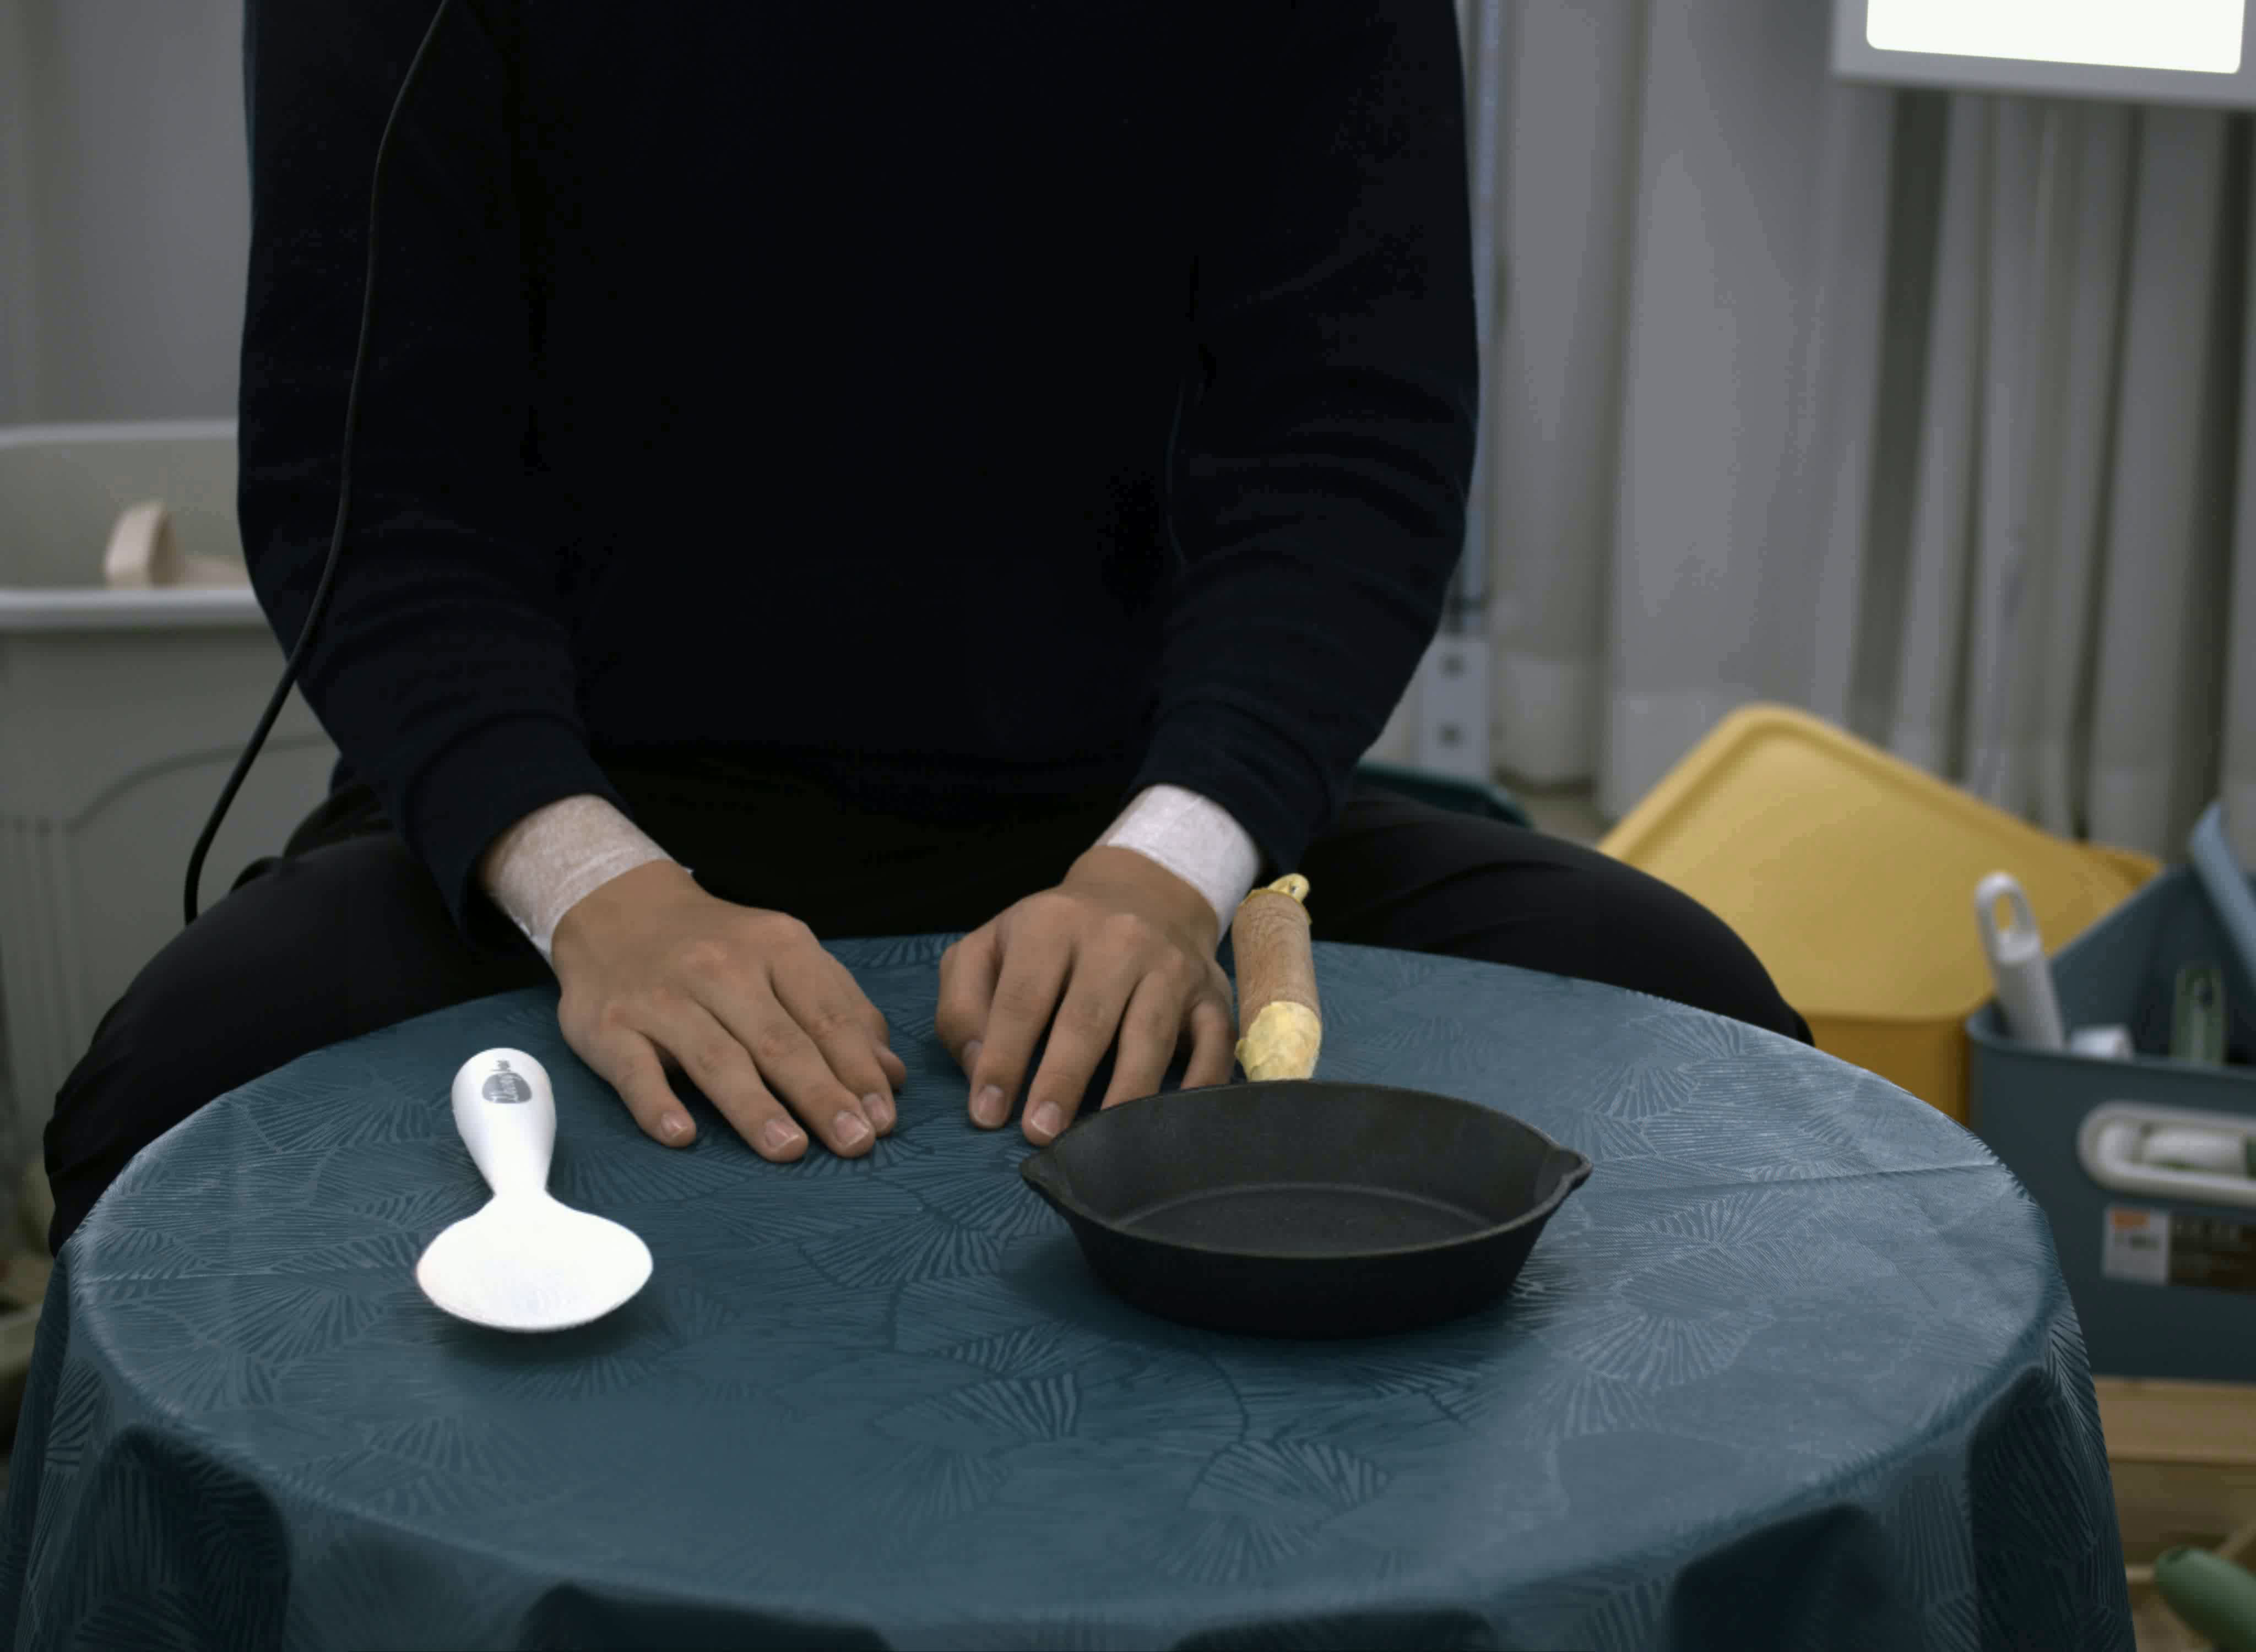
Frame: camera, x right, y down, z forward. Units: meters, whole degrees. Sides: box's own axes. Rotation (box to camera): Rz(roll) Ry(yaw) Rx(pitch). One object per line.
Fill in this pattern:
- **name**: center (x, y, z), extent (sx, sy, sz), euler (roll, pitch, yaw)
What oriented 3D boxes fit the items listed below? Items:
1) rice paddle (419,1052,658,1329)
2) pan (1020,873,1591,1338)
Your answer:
- **rice paddle**: center (-0.180, 0.111, 1.570), extent (0.069, 0.029, 0.203), euler (-4, 16, -10)
- **pan**: center (0.053, 0.083, 1.634), extent (0.168, 0.050, 0.322), euler (0, 17, 0)
